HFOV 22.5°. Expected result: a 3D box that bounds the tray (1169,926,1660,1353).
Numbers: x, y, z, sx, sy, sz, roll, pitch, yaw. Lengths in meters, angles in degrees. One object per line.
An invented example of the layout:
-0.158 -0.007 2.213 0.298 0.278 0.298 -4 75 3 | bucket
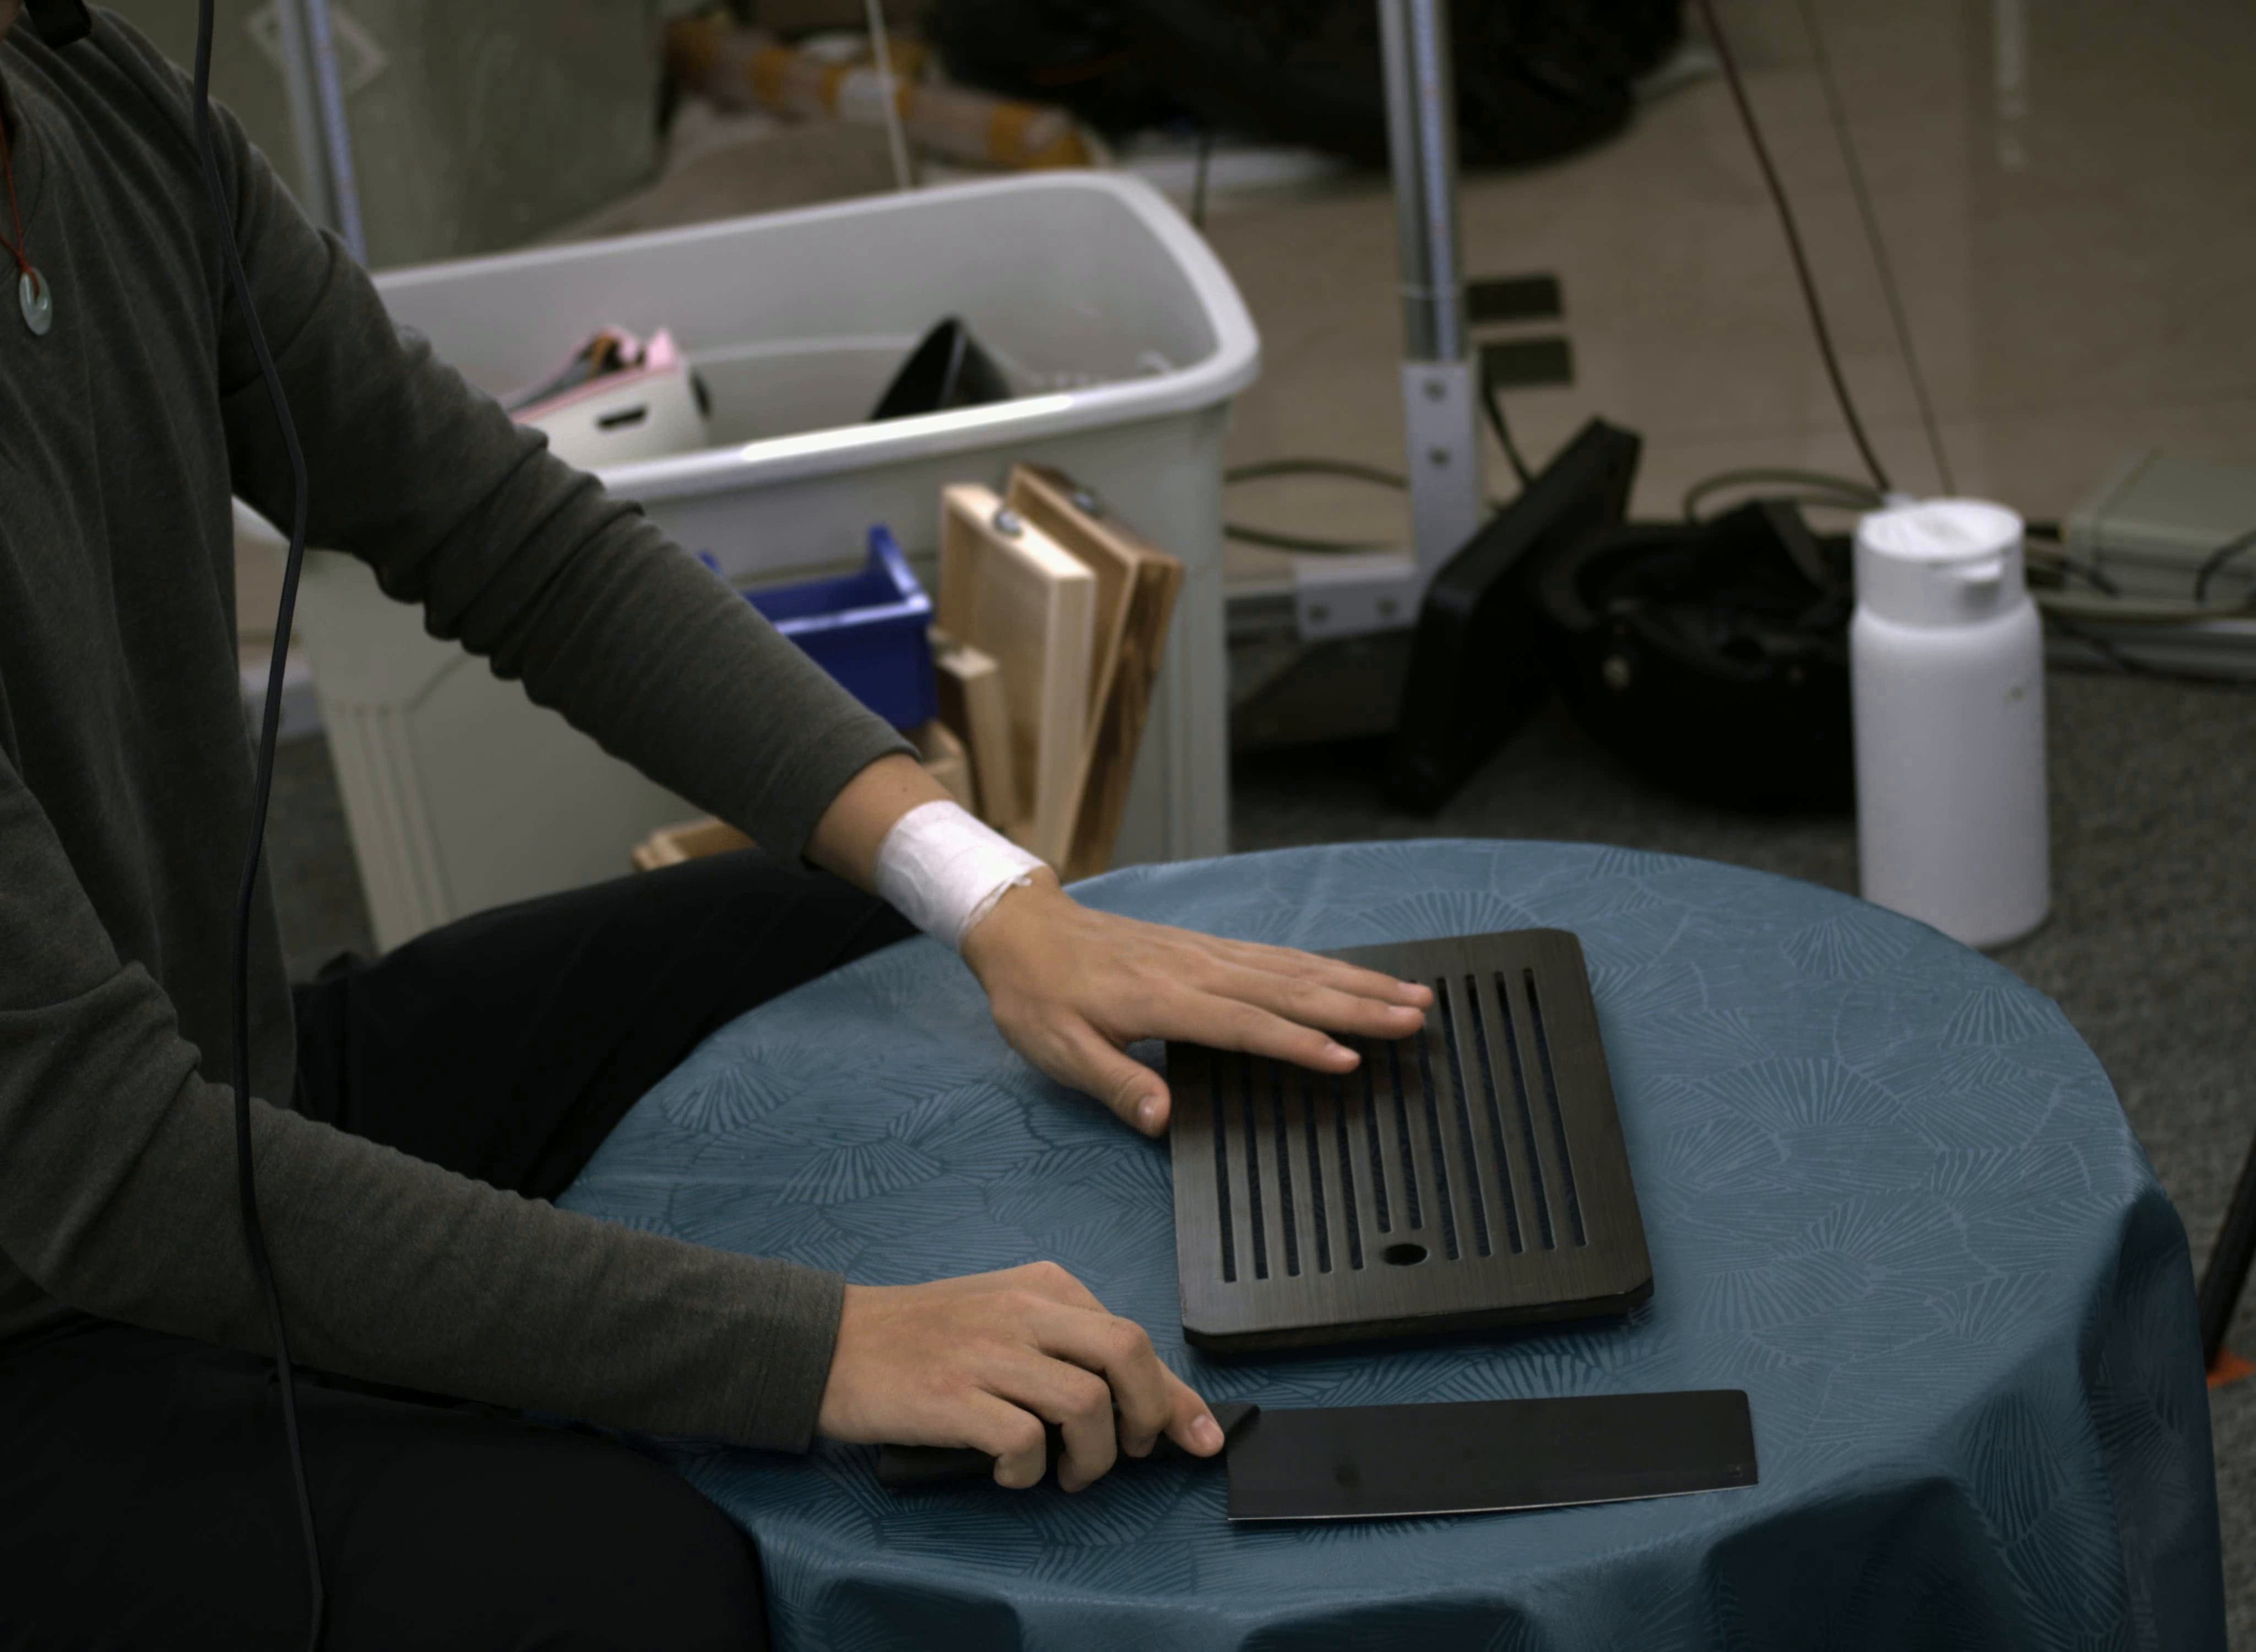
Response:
0.103 0.117 2.151 0.170 0.019 0.301 -7 24 2 | tray

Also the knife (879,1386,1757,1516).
0.065 0.216 1.954 0.302 0.021 0.079 -1 27 7 | knife
